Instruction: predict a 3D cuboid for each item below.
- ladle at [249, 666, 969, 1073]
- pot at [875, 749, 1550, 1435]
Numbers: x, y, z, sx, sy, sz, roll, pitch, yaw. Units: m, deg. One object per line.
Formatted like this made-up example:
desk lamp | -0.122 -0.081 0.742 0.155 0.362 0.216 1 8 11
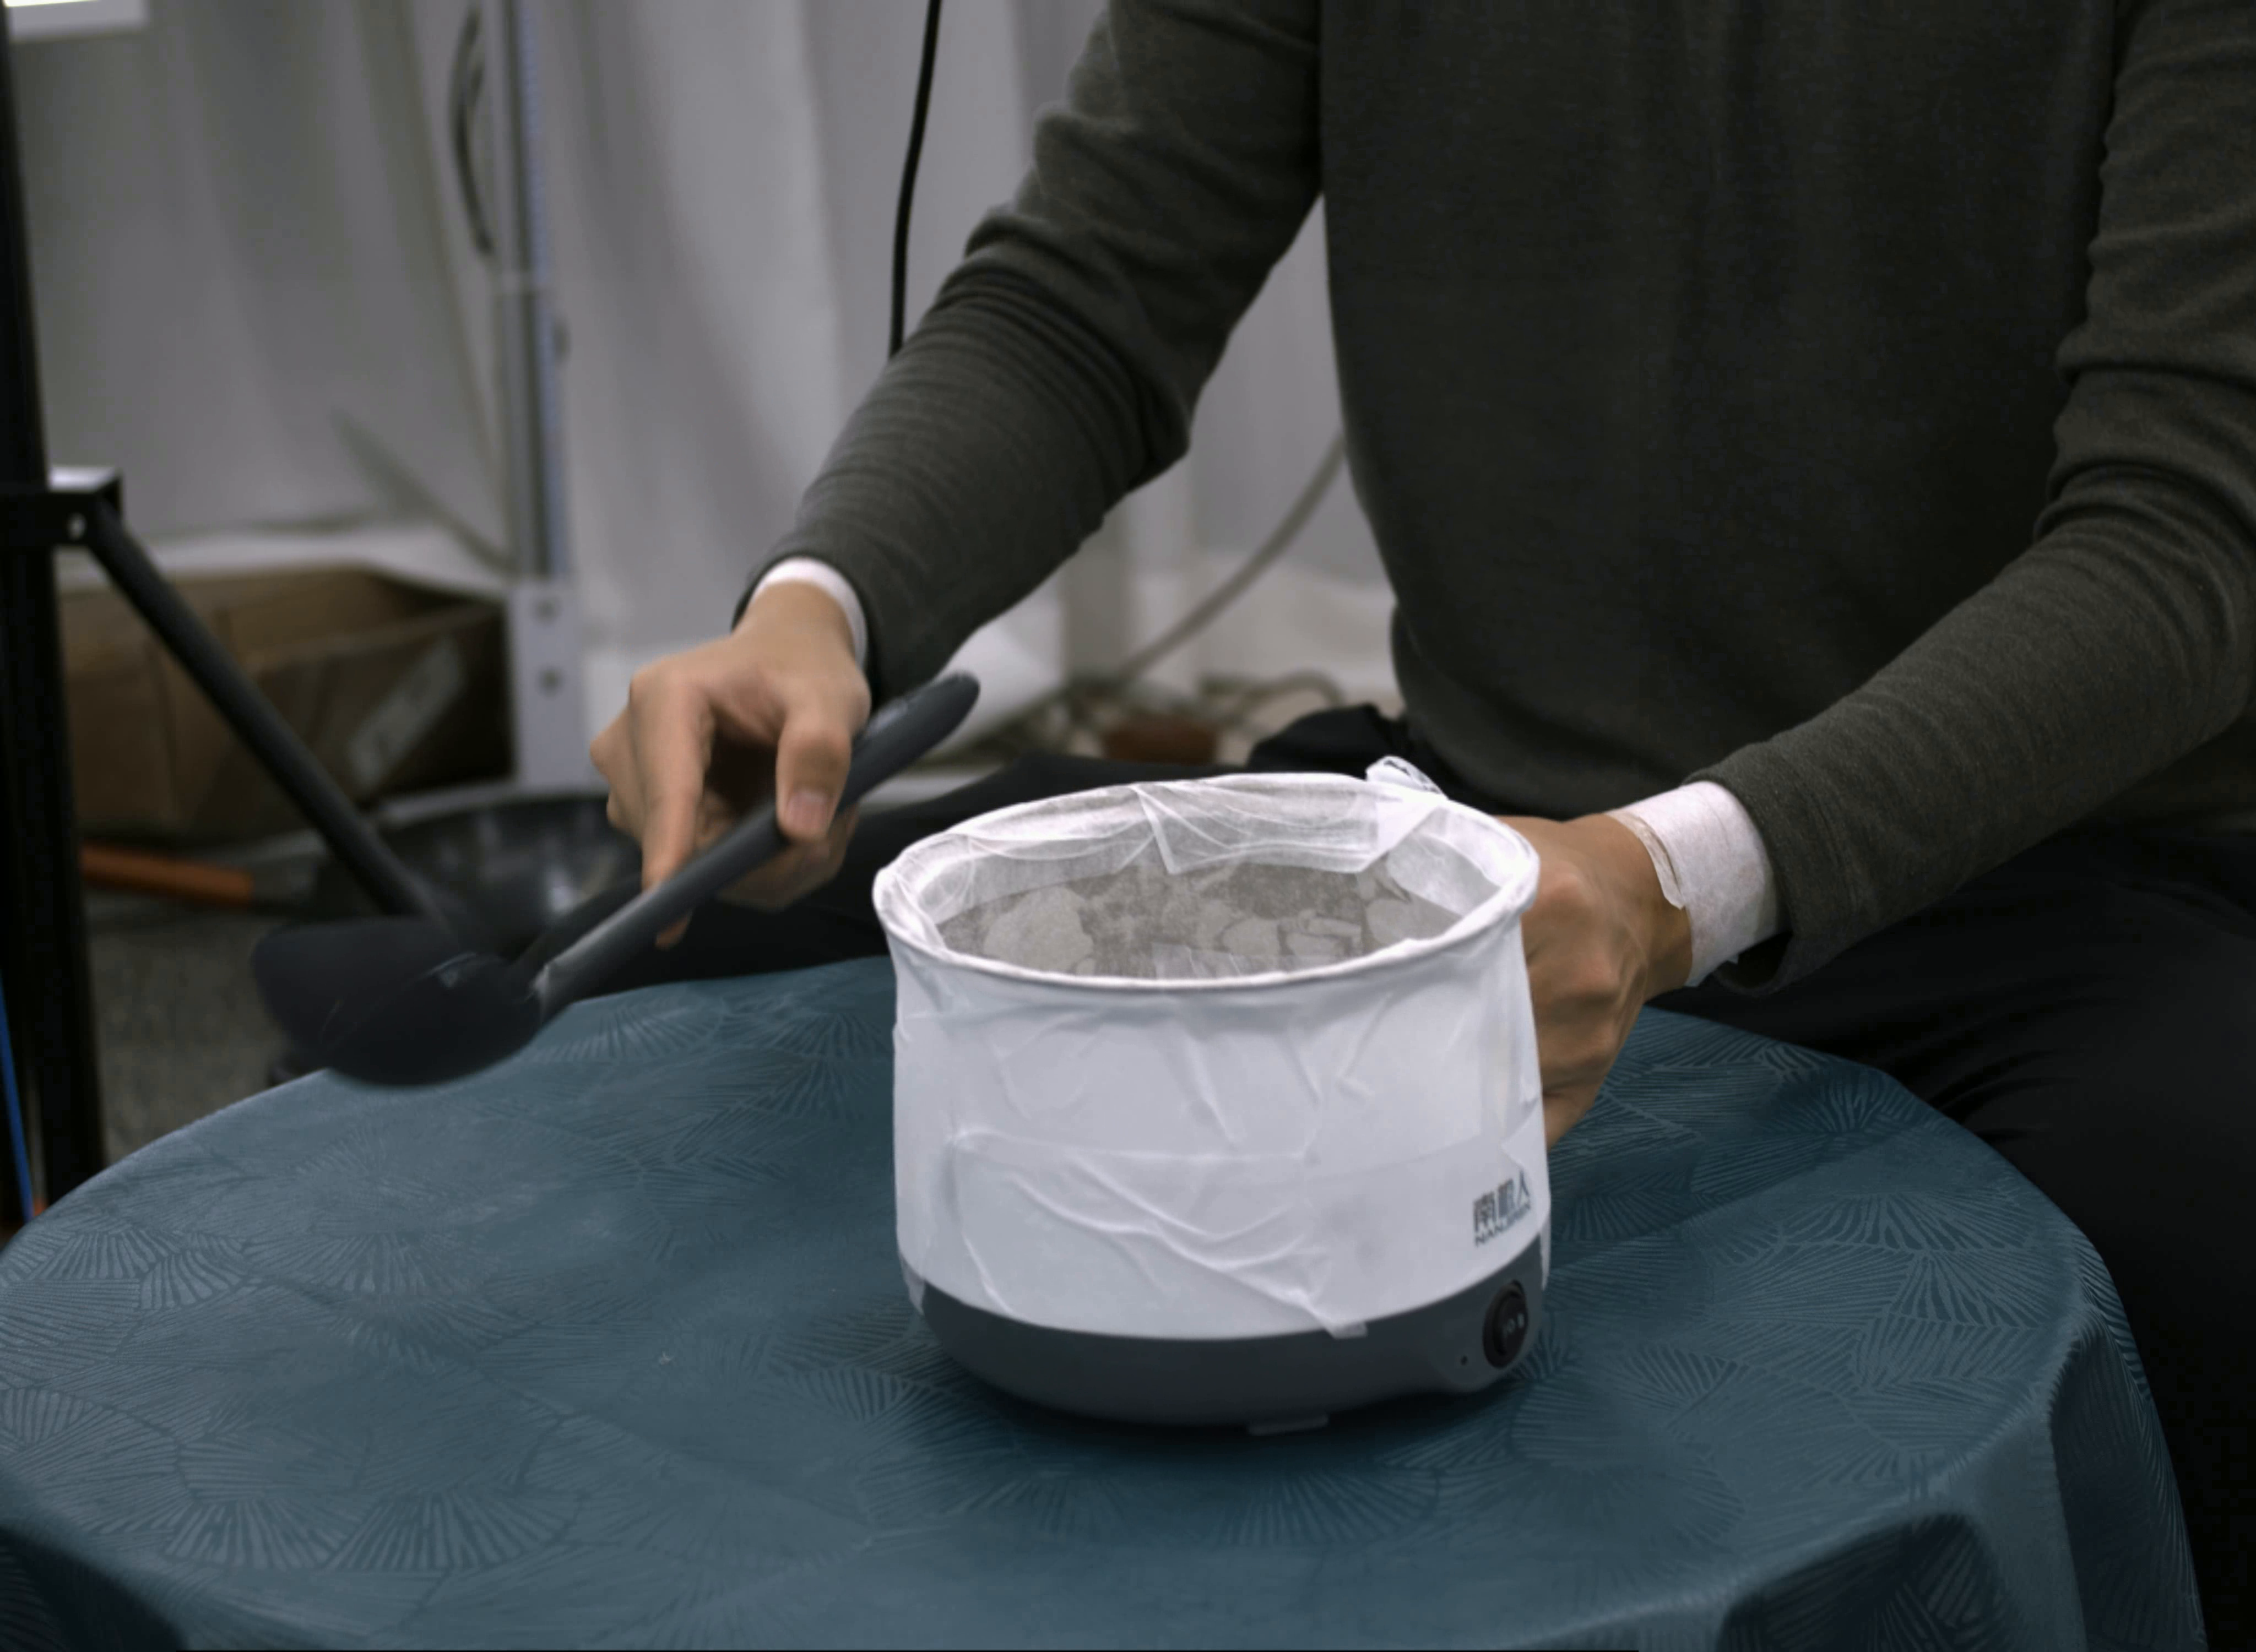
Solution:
ladle | -0.136 -0.007 1.565 0.088 0.063 0.309 -1 23 34
pot | 0.039 0.064 1.439 0.182 0.136 0.229 8 21 32
